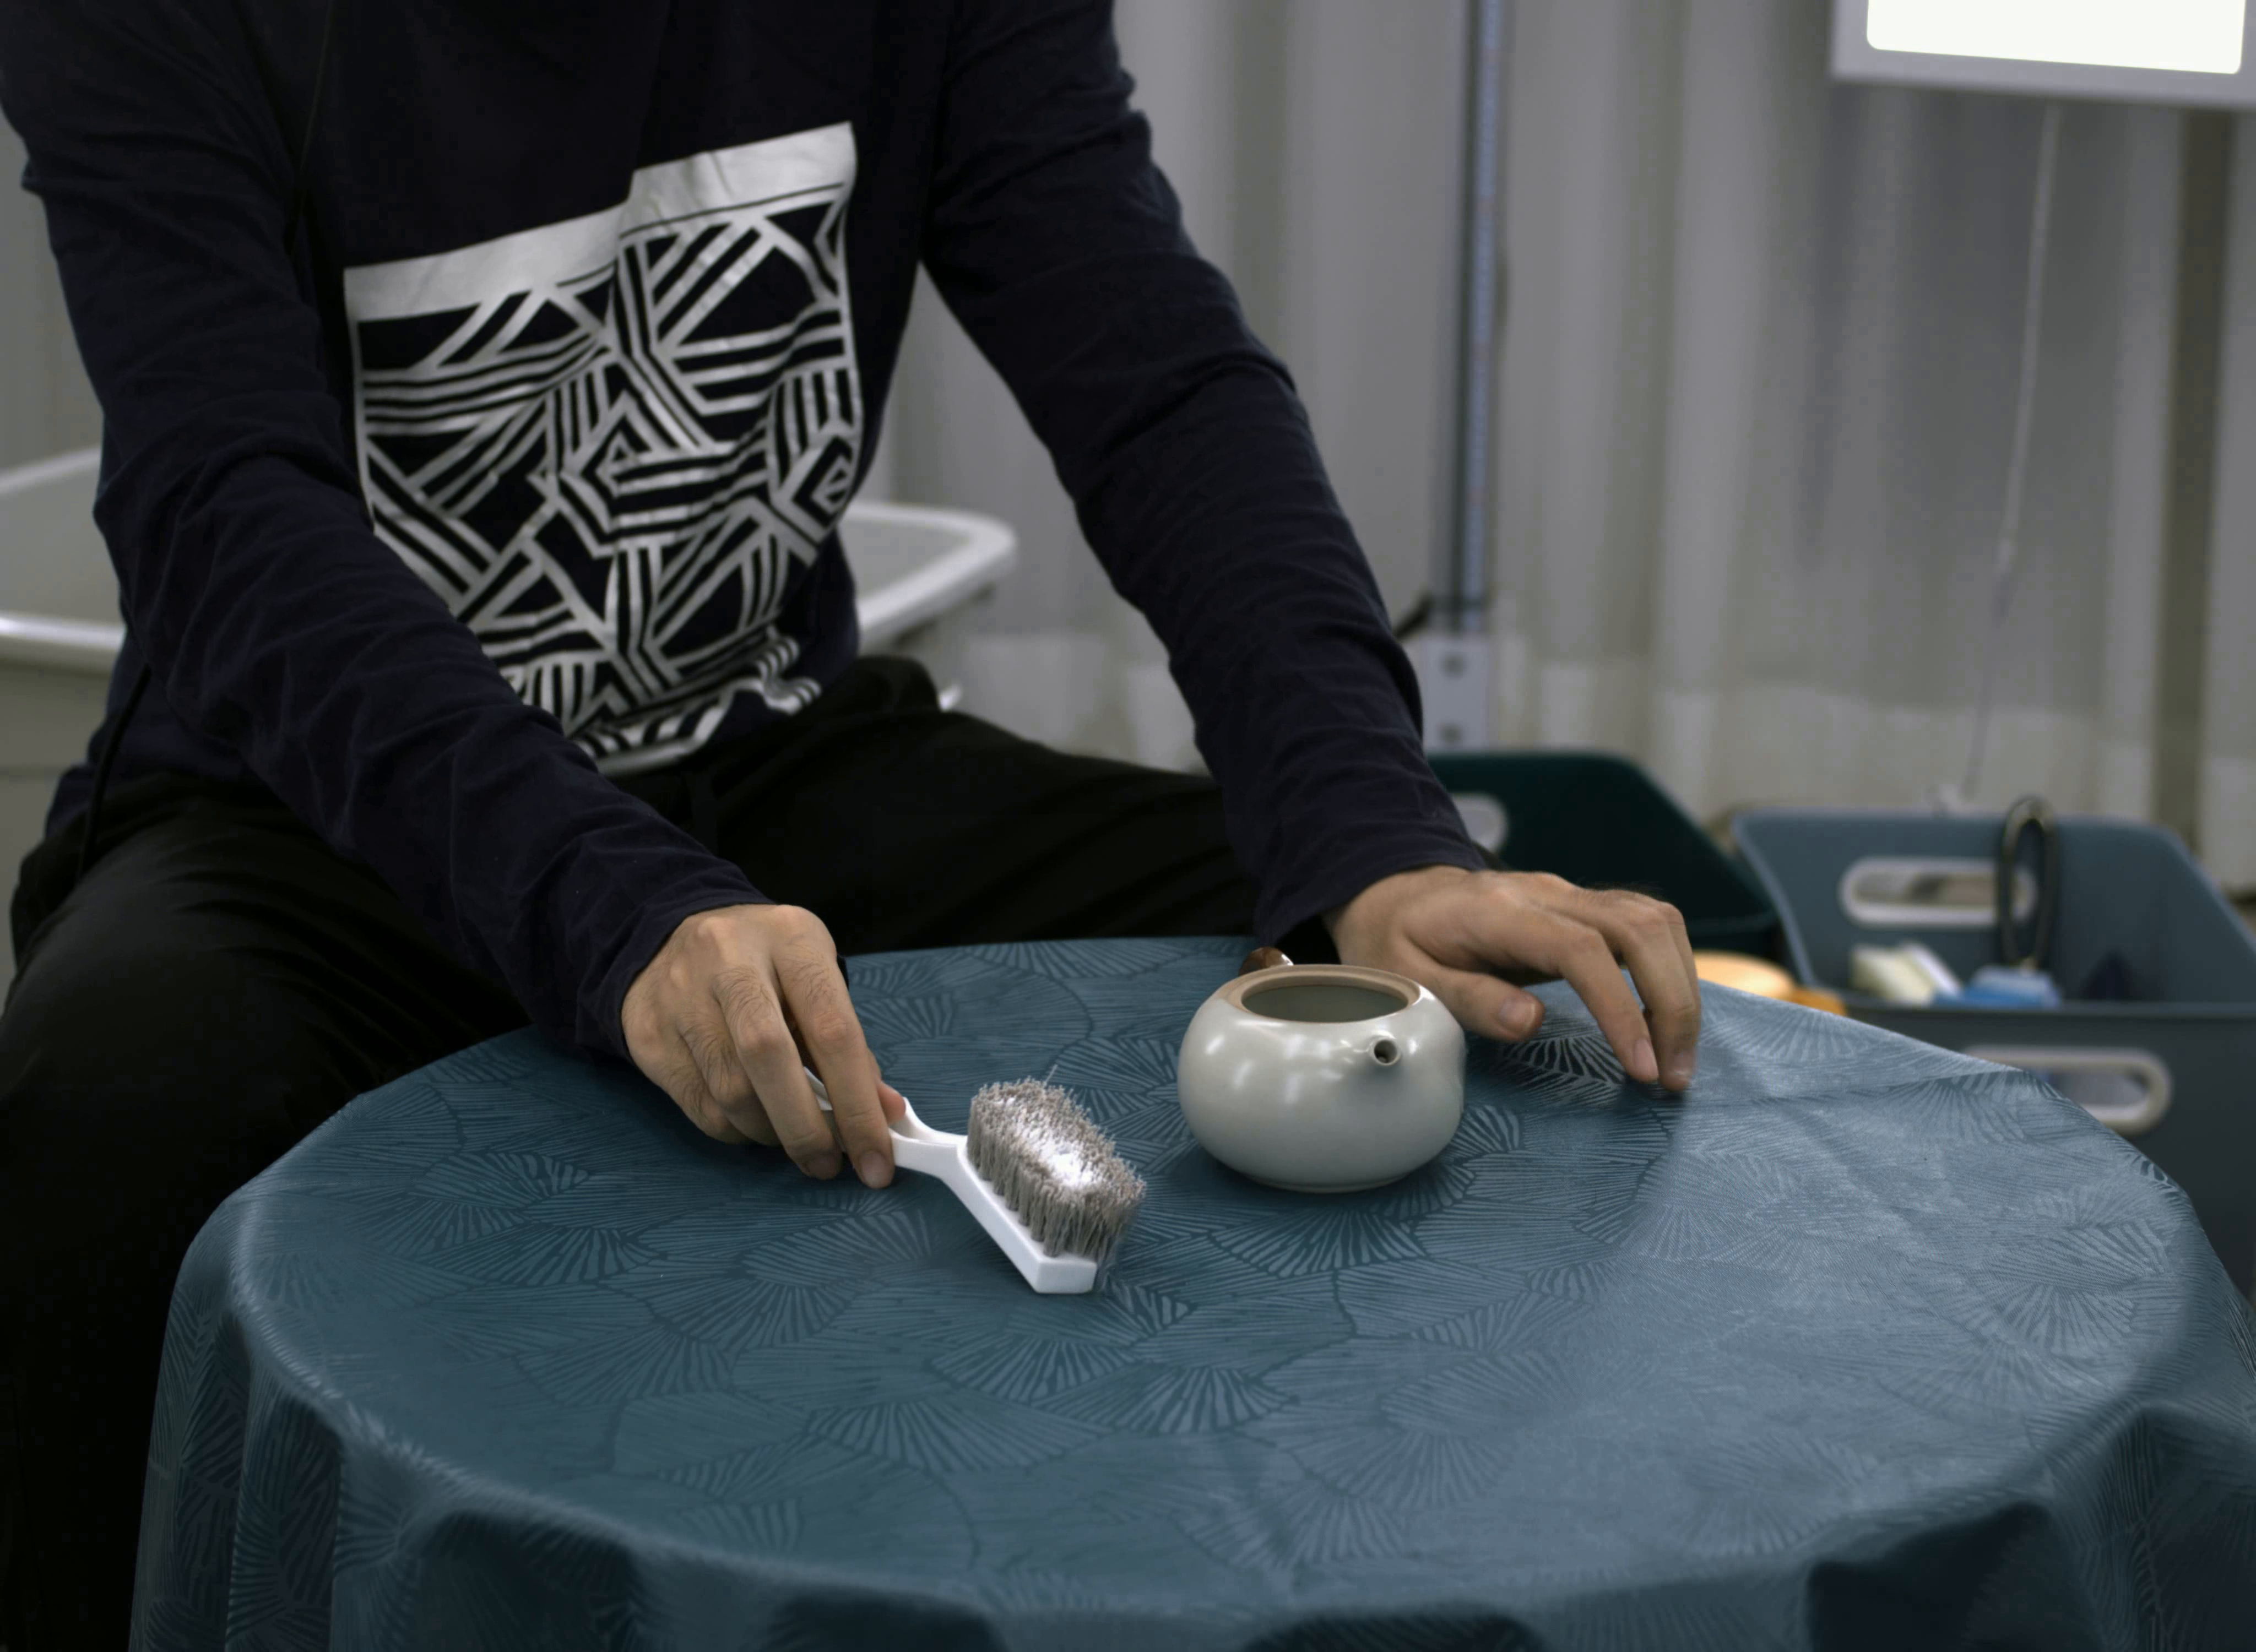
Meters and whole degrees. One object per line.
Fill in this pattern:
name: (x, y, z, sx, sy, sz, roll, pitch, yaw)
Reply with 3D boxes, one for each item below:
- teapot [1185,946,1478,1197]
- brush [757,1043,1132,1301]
teapot: (0.060, 0.076, 1.651, 0.092, 0.060, 0.126, -9, 19, -19)
brush: (-0.063, 0.087, 1.625, 0.034, 0.051, 0.240, -15, 21, -23)
